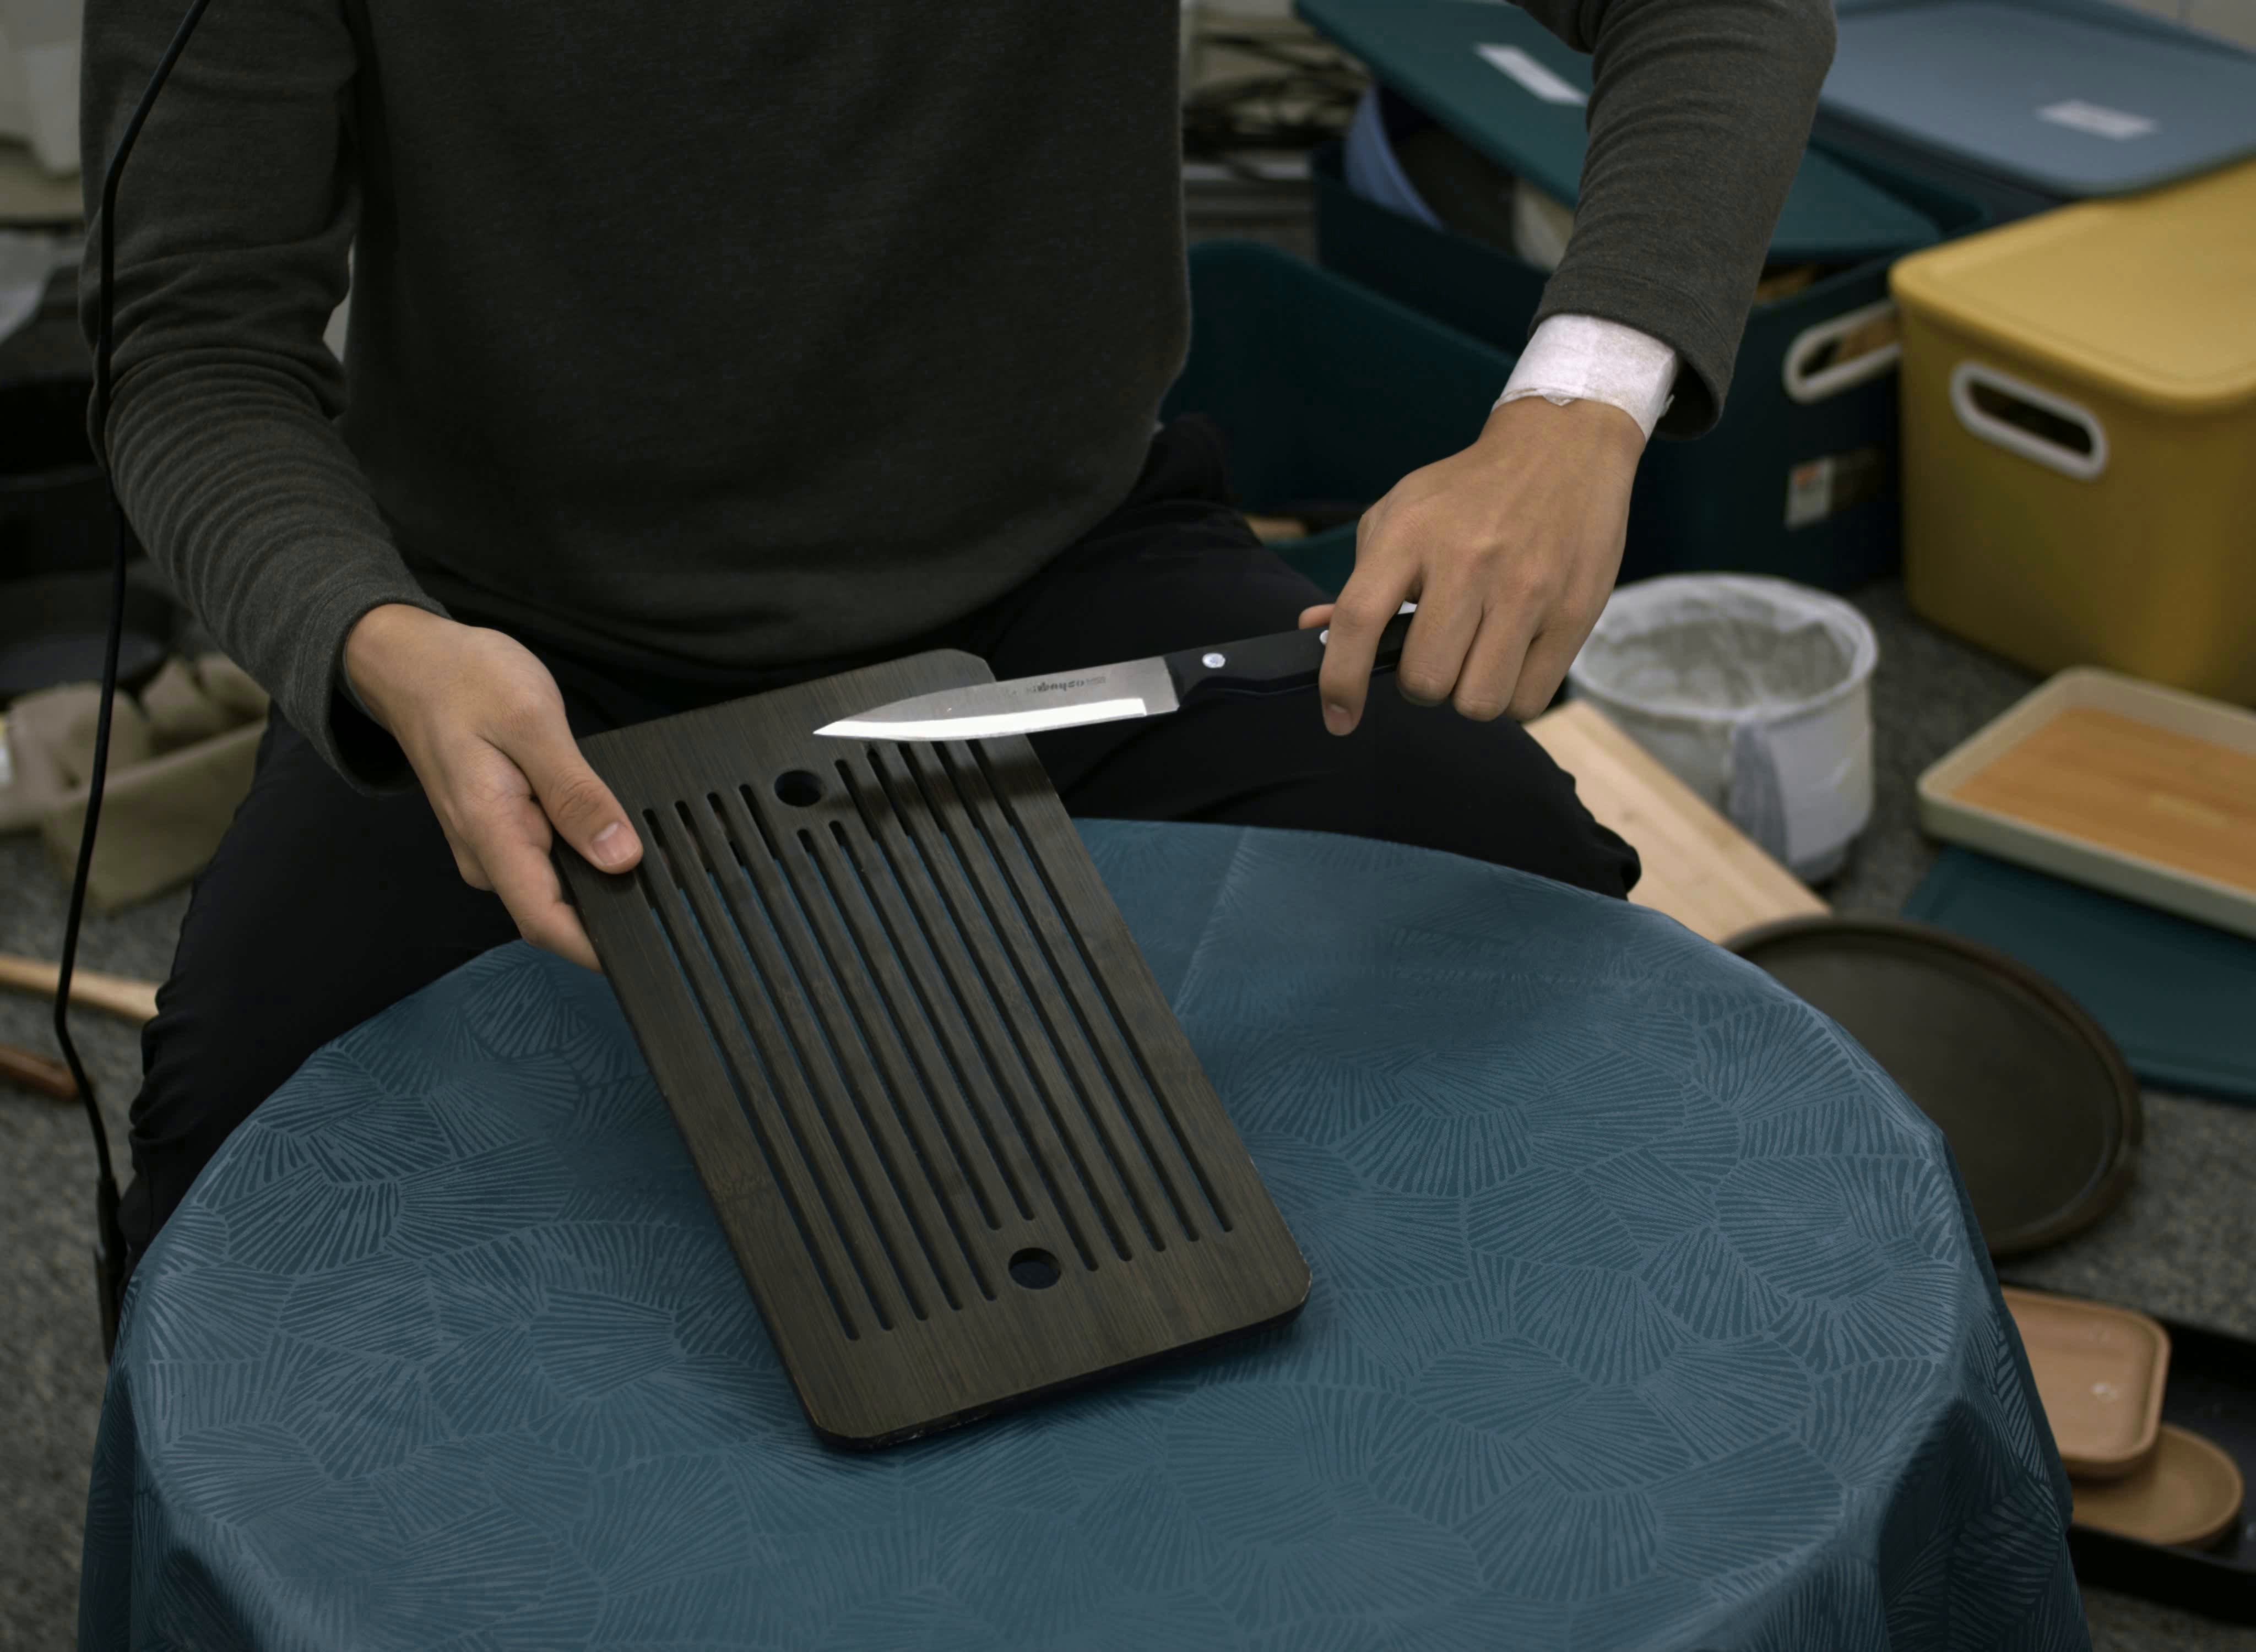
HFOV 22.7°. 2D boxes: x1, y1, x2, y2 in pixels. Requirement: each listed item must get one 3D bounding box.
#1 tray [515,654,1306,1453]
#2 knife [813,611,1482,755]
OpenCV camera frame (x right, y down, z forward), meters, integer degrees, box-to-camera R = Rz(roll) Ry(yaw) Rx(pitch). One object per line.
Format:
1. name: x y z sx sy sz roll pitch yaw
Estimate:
1. tray: -0.076 0.069 1.841 0.170 0.018 0.310 -14 50 -18
2. knife: 0.007 -0.048 1.923 0.238 0.016 0.025 -10 59 -14
